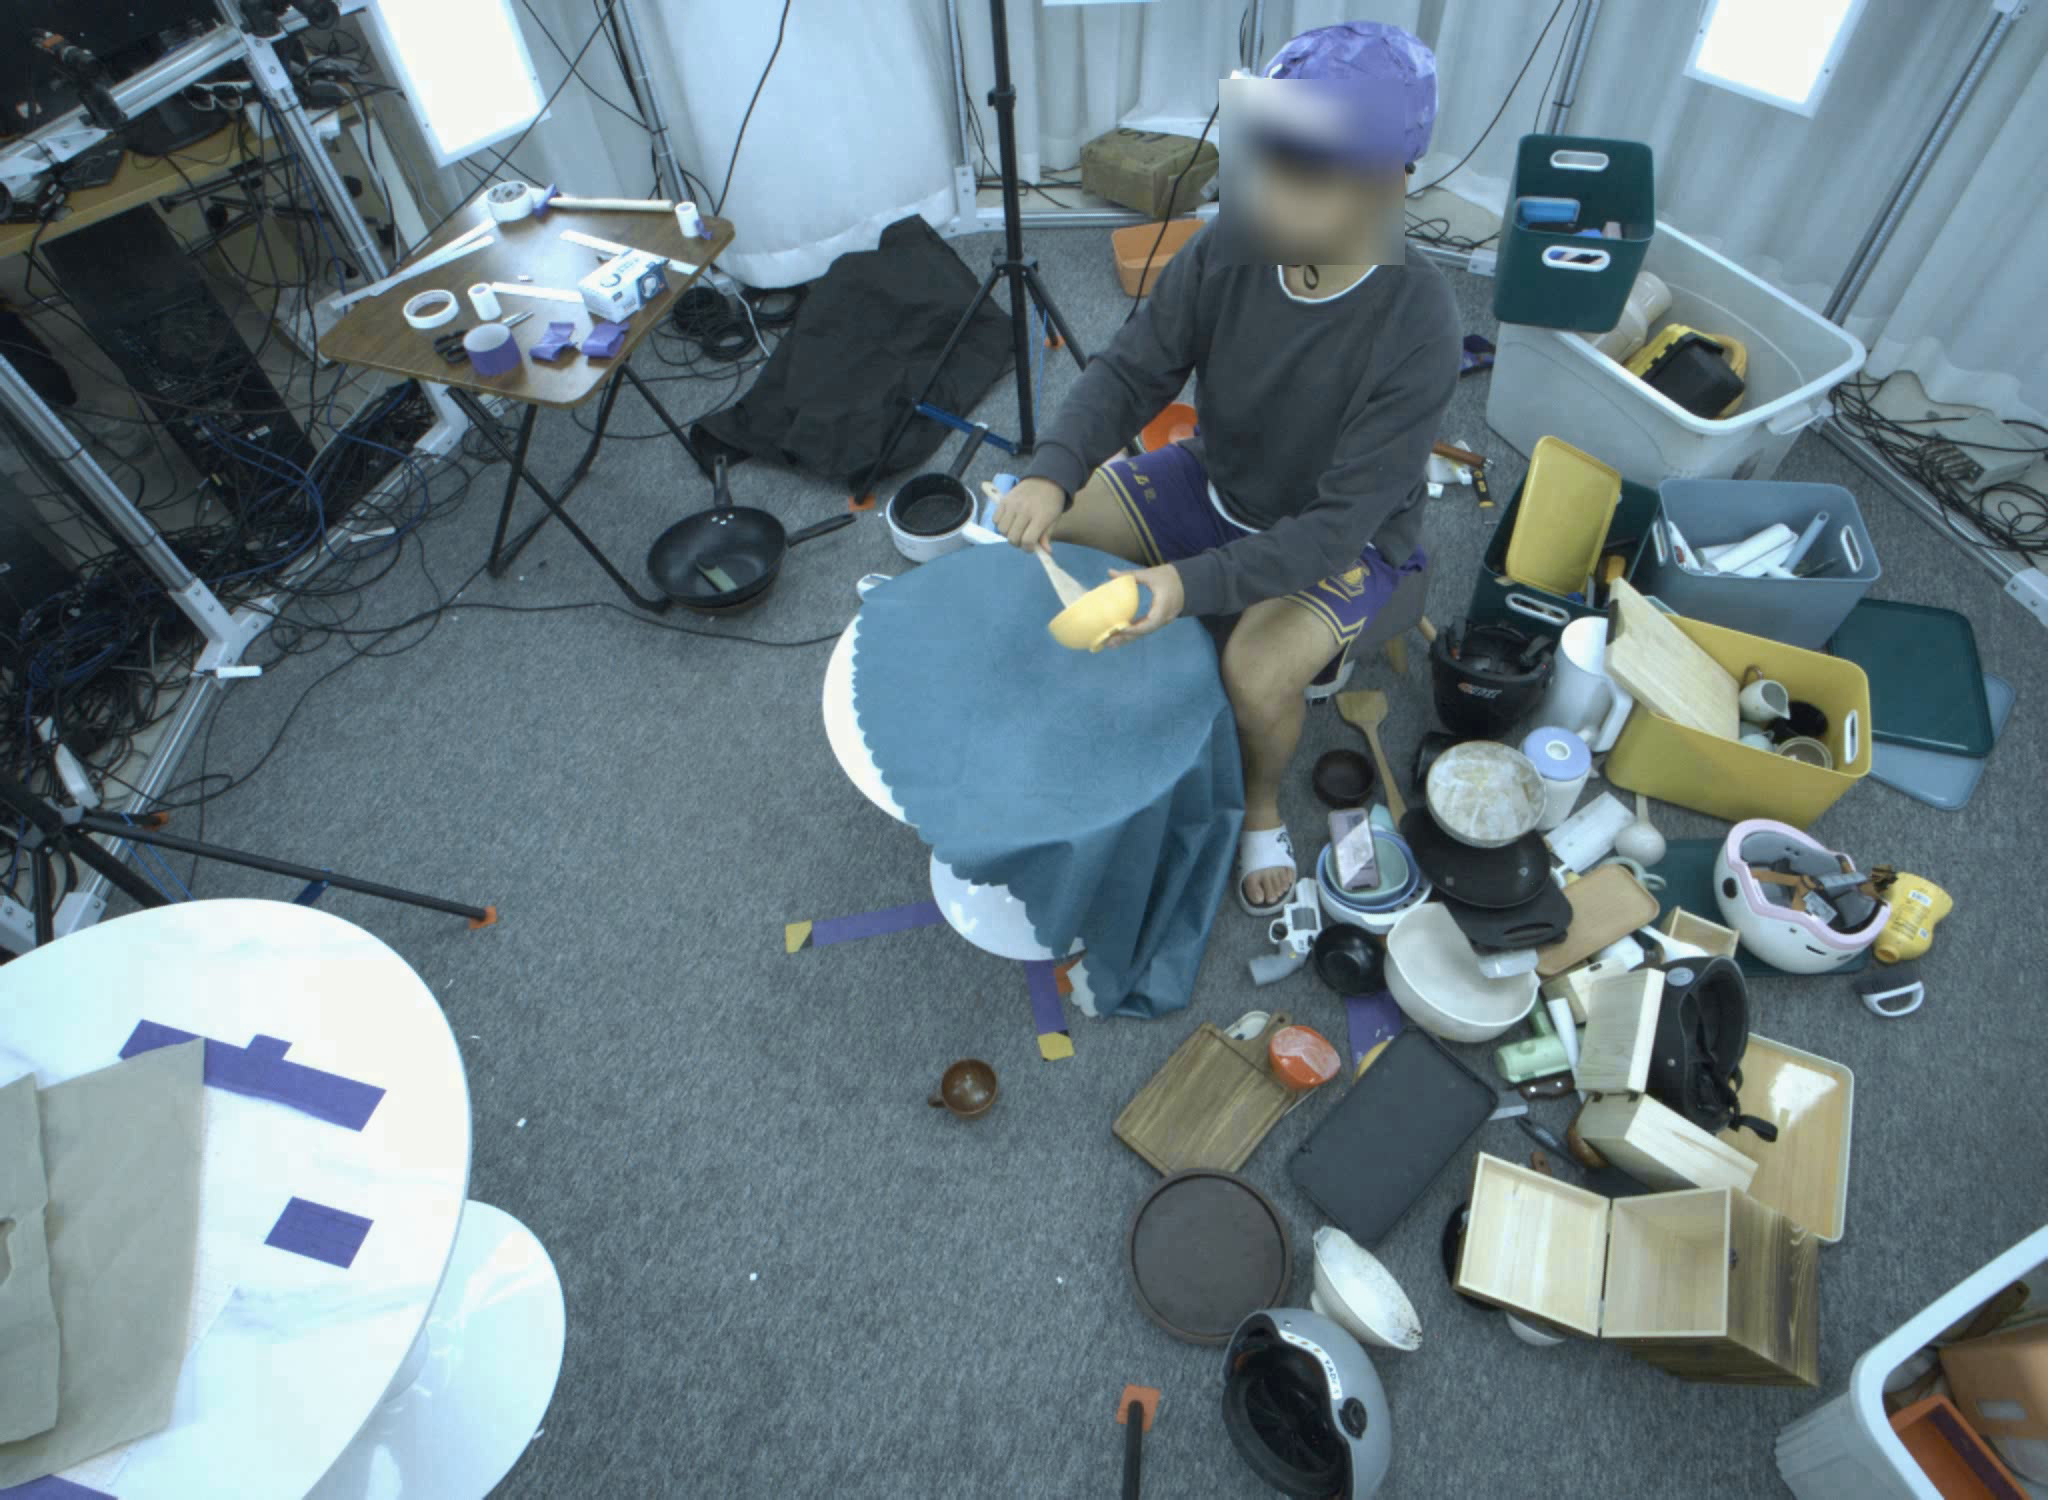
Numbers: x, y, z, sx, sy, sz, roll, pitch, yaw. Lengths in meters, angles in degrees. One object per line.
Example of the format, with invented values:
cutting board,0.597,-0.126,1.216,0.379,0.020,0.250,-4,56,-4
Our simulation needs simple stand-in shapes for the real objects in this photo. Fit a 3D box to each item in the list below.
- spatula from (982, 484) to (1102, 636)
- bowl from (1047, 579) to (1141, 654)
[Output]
spatula,0.033,-0.278,1.763,0.081,0.016,0.323,-15,61,-43
bowl,0.108,-0.175,1.711,0.146,0.145,0.060,-27,83,-15
